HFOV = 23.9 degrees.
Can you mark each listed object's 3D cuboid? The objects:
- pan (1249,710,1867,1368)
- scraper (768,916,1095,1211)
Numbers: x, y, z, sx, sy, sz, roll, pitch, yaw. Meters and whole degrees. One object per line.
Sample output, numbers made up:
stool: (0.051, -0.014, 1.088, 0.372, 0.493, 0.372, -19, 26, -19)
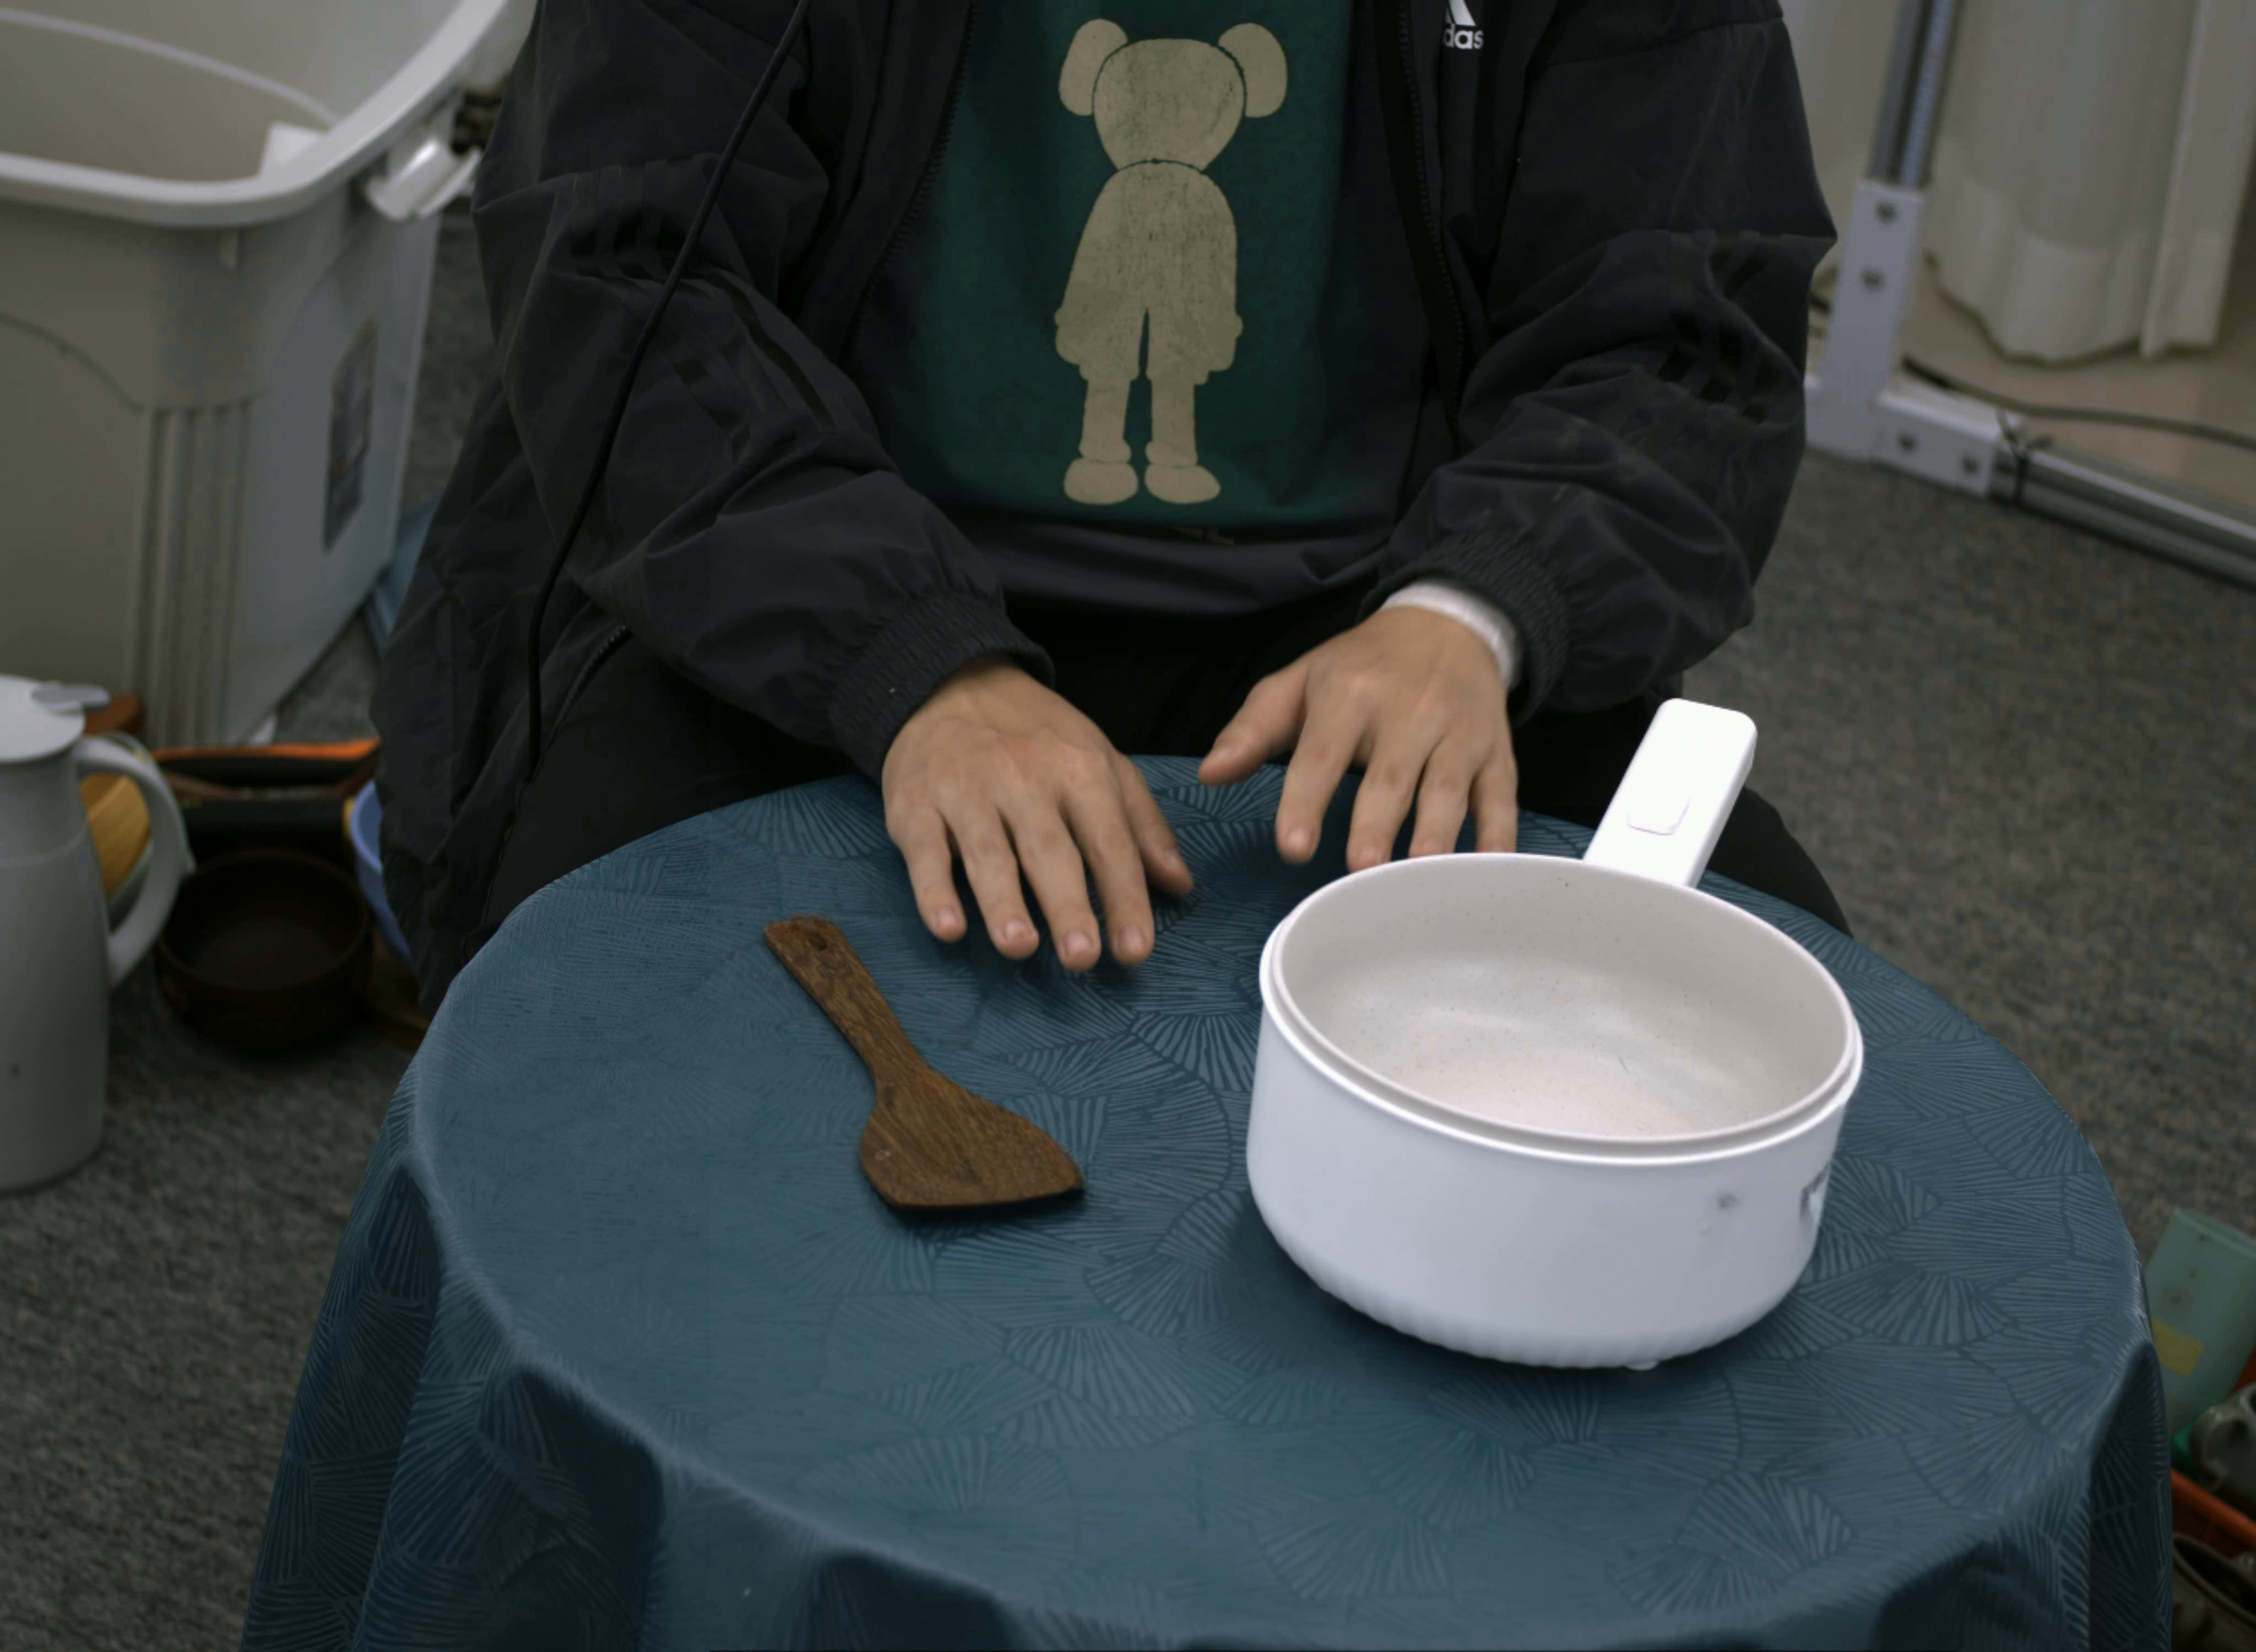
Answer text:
pan: (0.162, 0.068, 1.843, 0.201, 0.102, 0.355, 13, 26, 13)
scraper: (-0.081, 0.082, 1.861, 0.075, 0.011, 0.213, -4, 28, -22)
